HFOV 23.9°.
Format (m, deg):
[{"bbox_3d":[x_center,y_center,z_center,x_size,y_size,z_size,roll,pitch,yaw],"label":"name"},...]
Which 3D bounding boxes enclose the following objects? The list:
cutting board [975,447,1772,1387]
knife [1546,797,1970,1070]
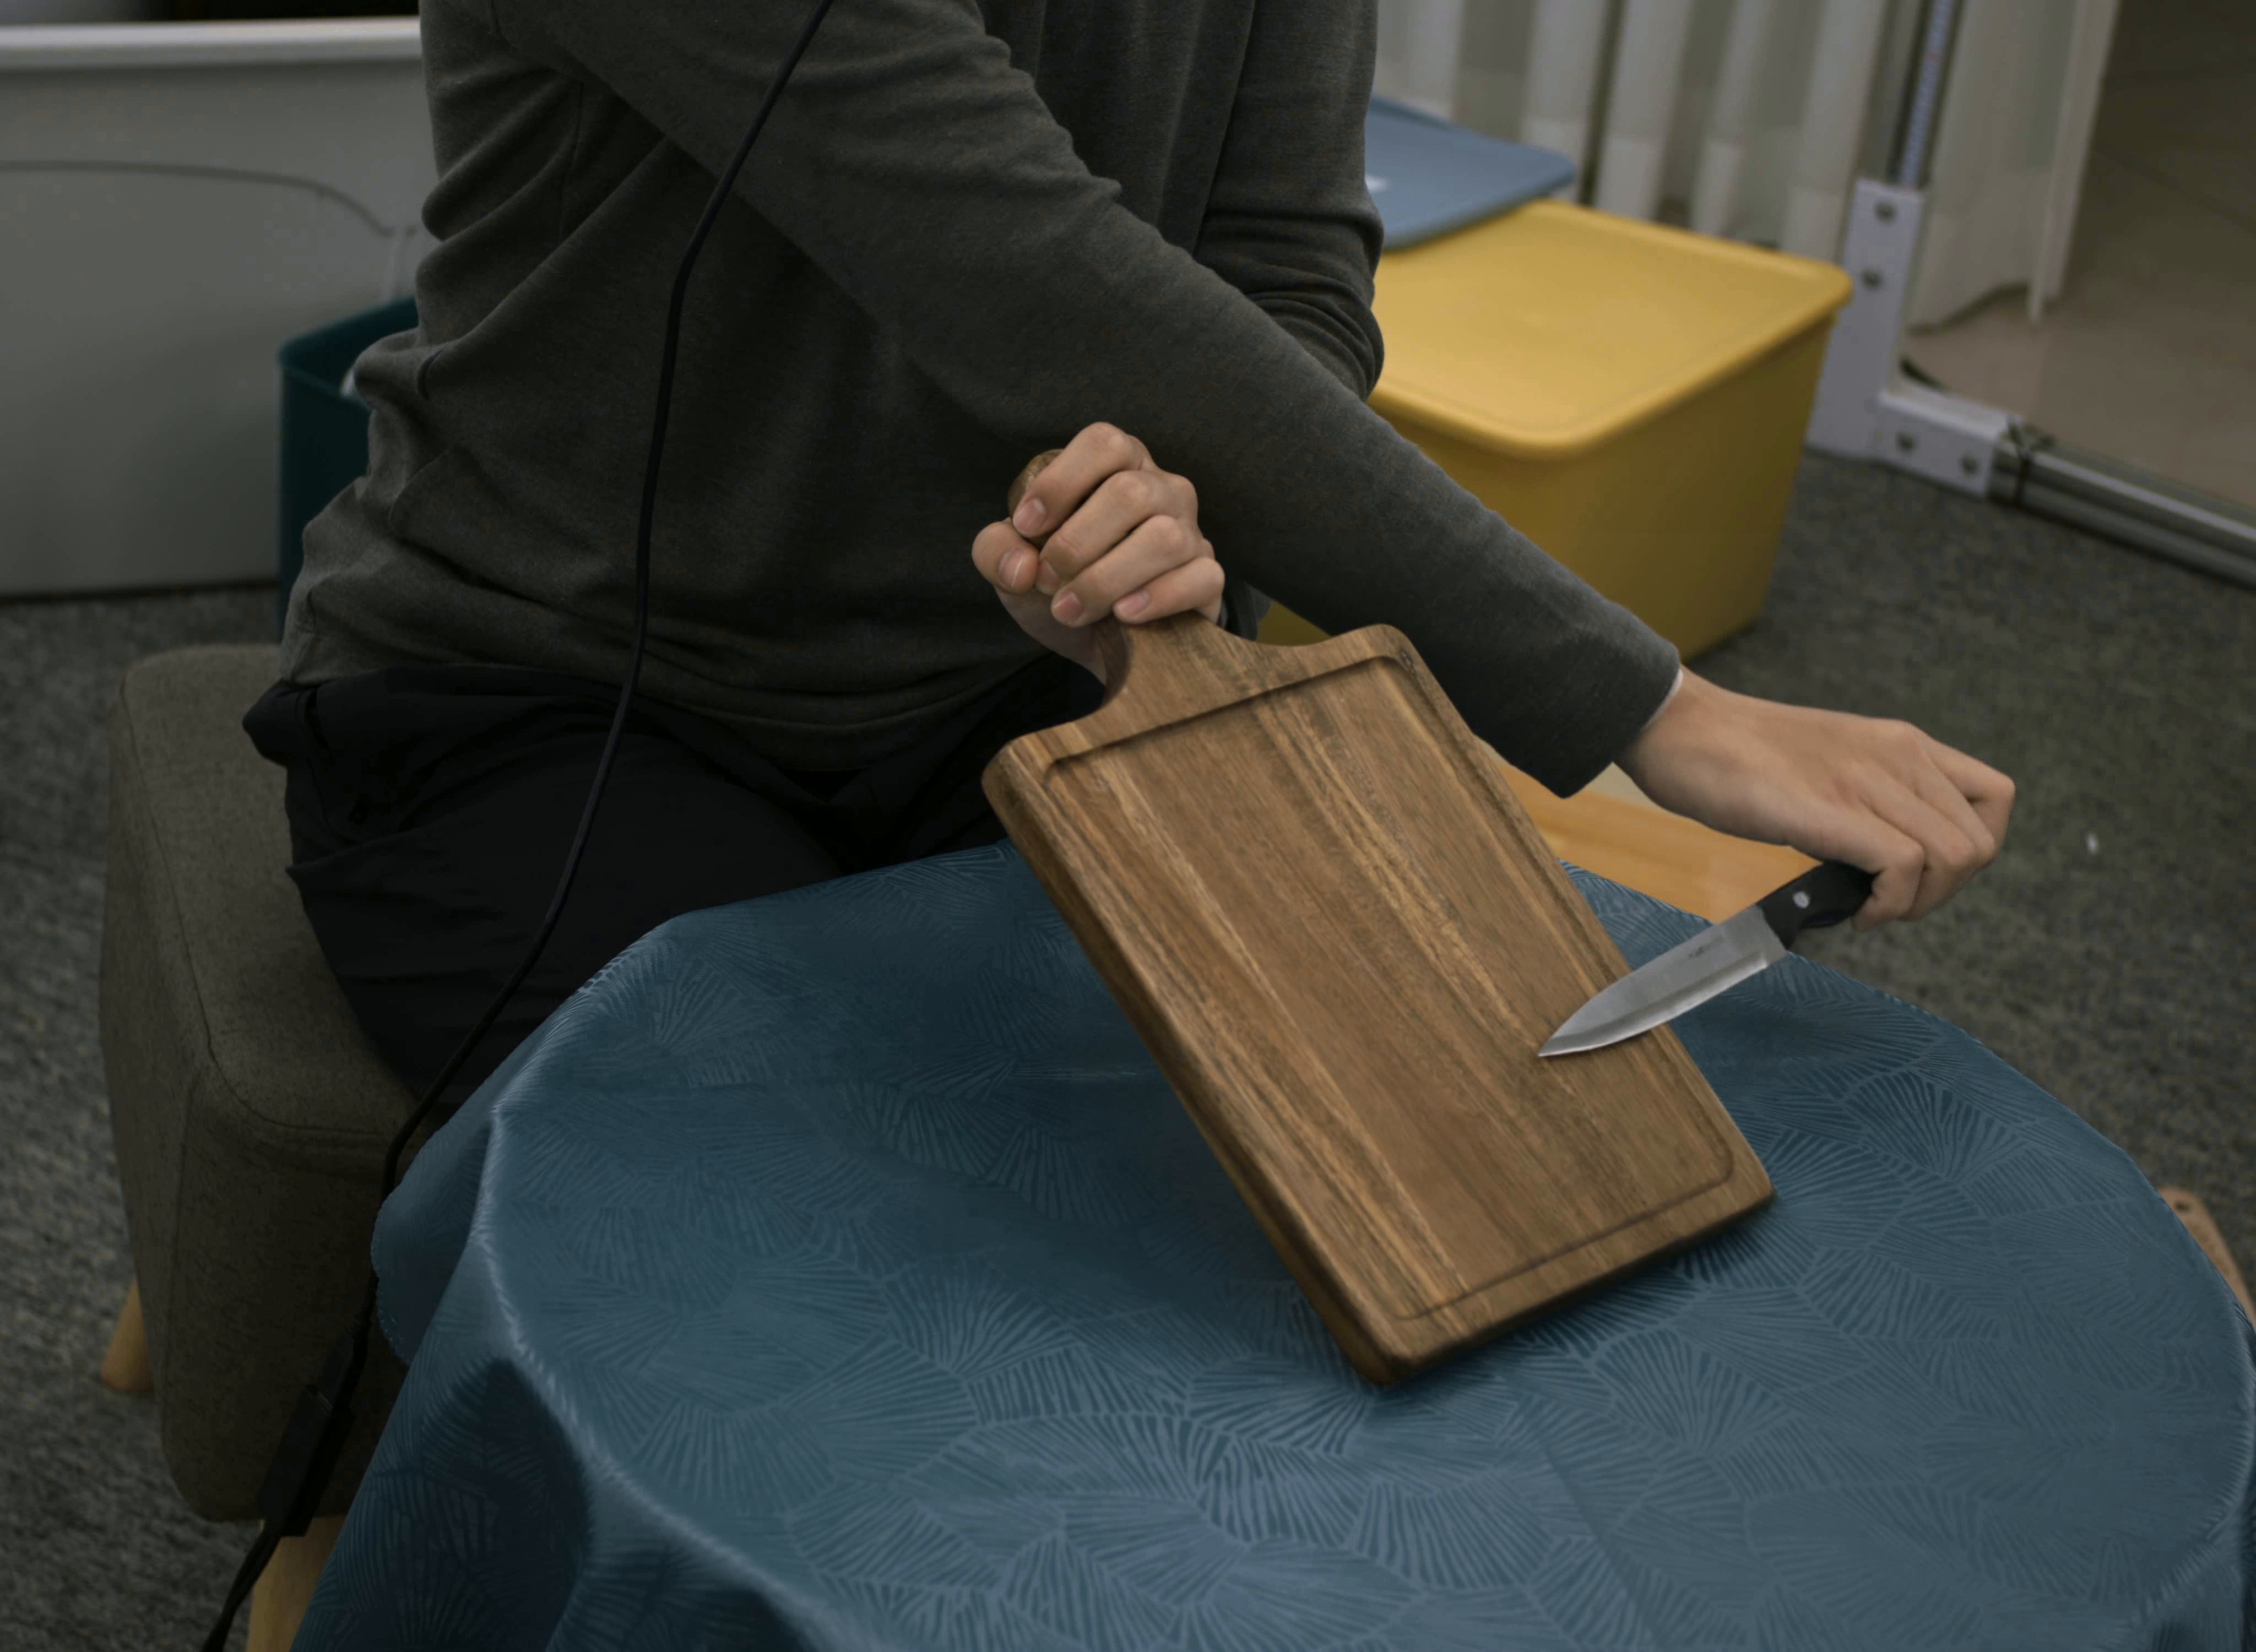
[{"bbox_3d":[0.059,0.013,1.815,0.200,0.023,0.354,-19,68,-40],"label":"cutting board"},{"bbox_3d":[0.221,0.037,1.879,0.237,0.016,0.024,-28,75,-39],"label":"knife"}]
